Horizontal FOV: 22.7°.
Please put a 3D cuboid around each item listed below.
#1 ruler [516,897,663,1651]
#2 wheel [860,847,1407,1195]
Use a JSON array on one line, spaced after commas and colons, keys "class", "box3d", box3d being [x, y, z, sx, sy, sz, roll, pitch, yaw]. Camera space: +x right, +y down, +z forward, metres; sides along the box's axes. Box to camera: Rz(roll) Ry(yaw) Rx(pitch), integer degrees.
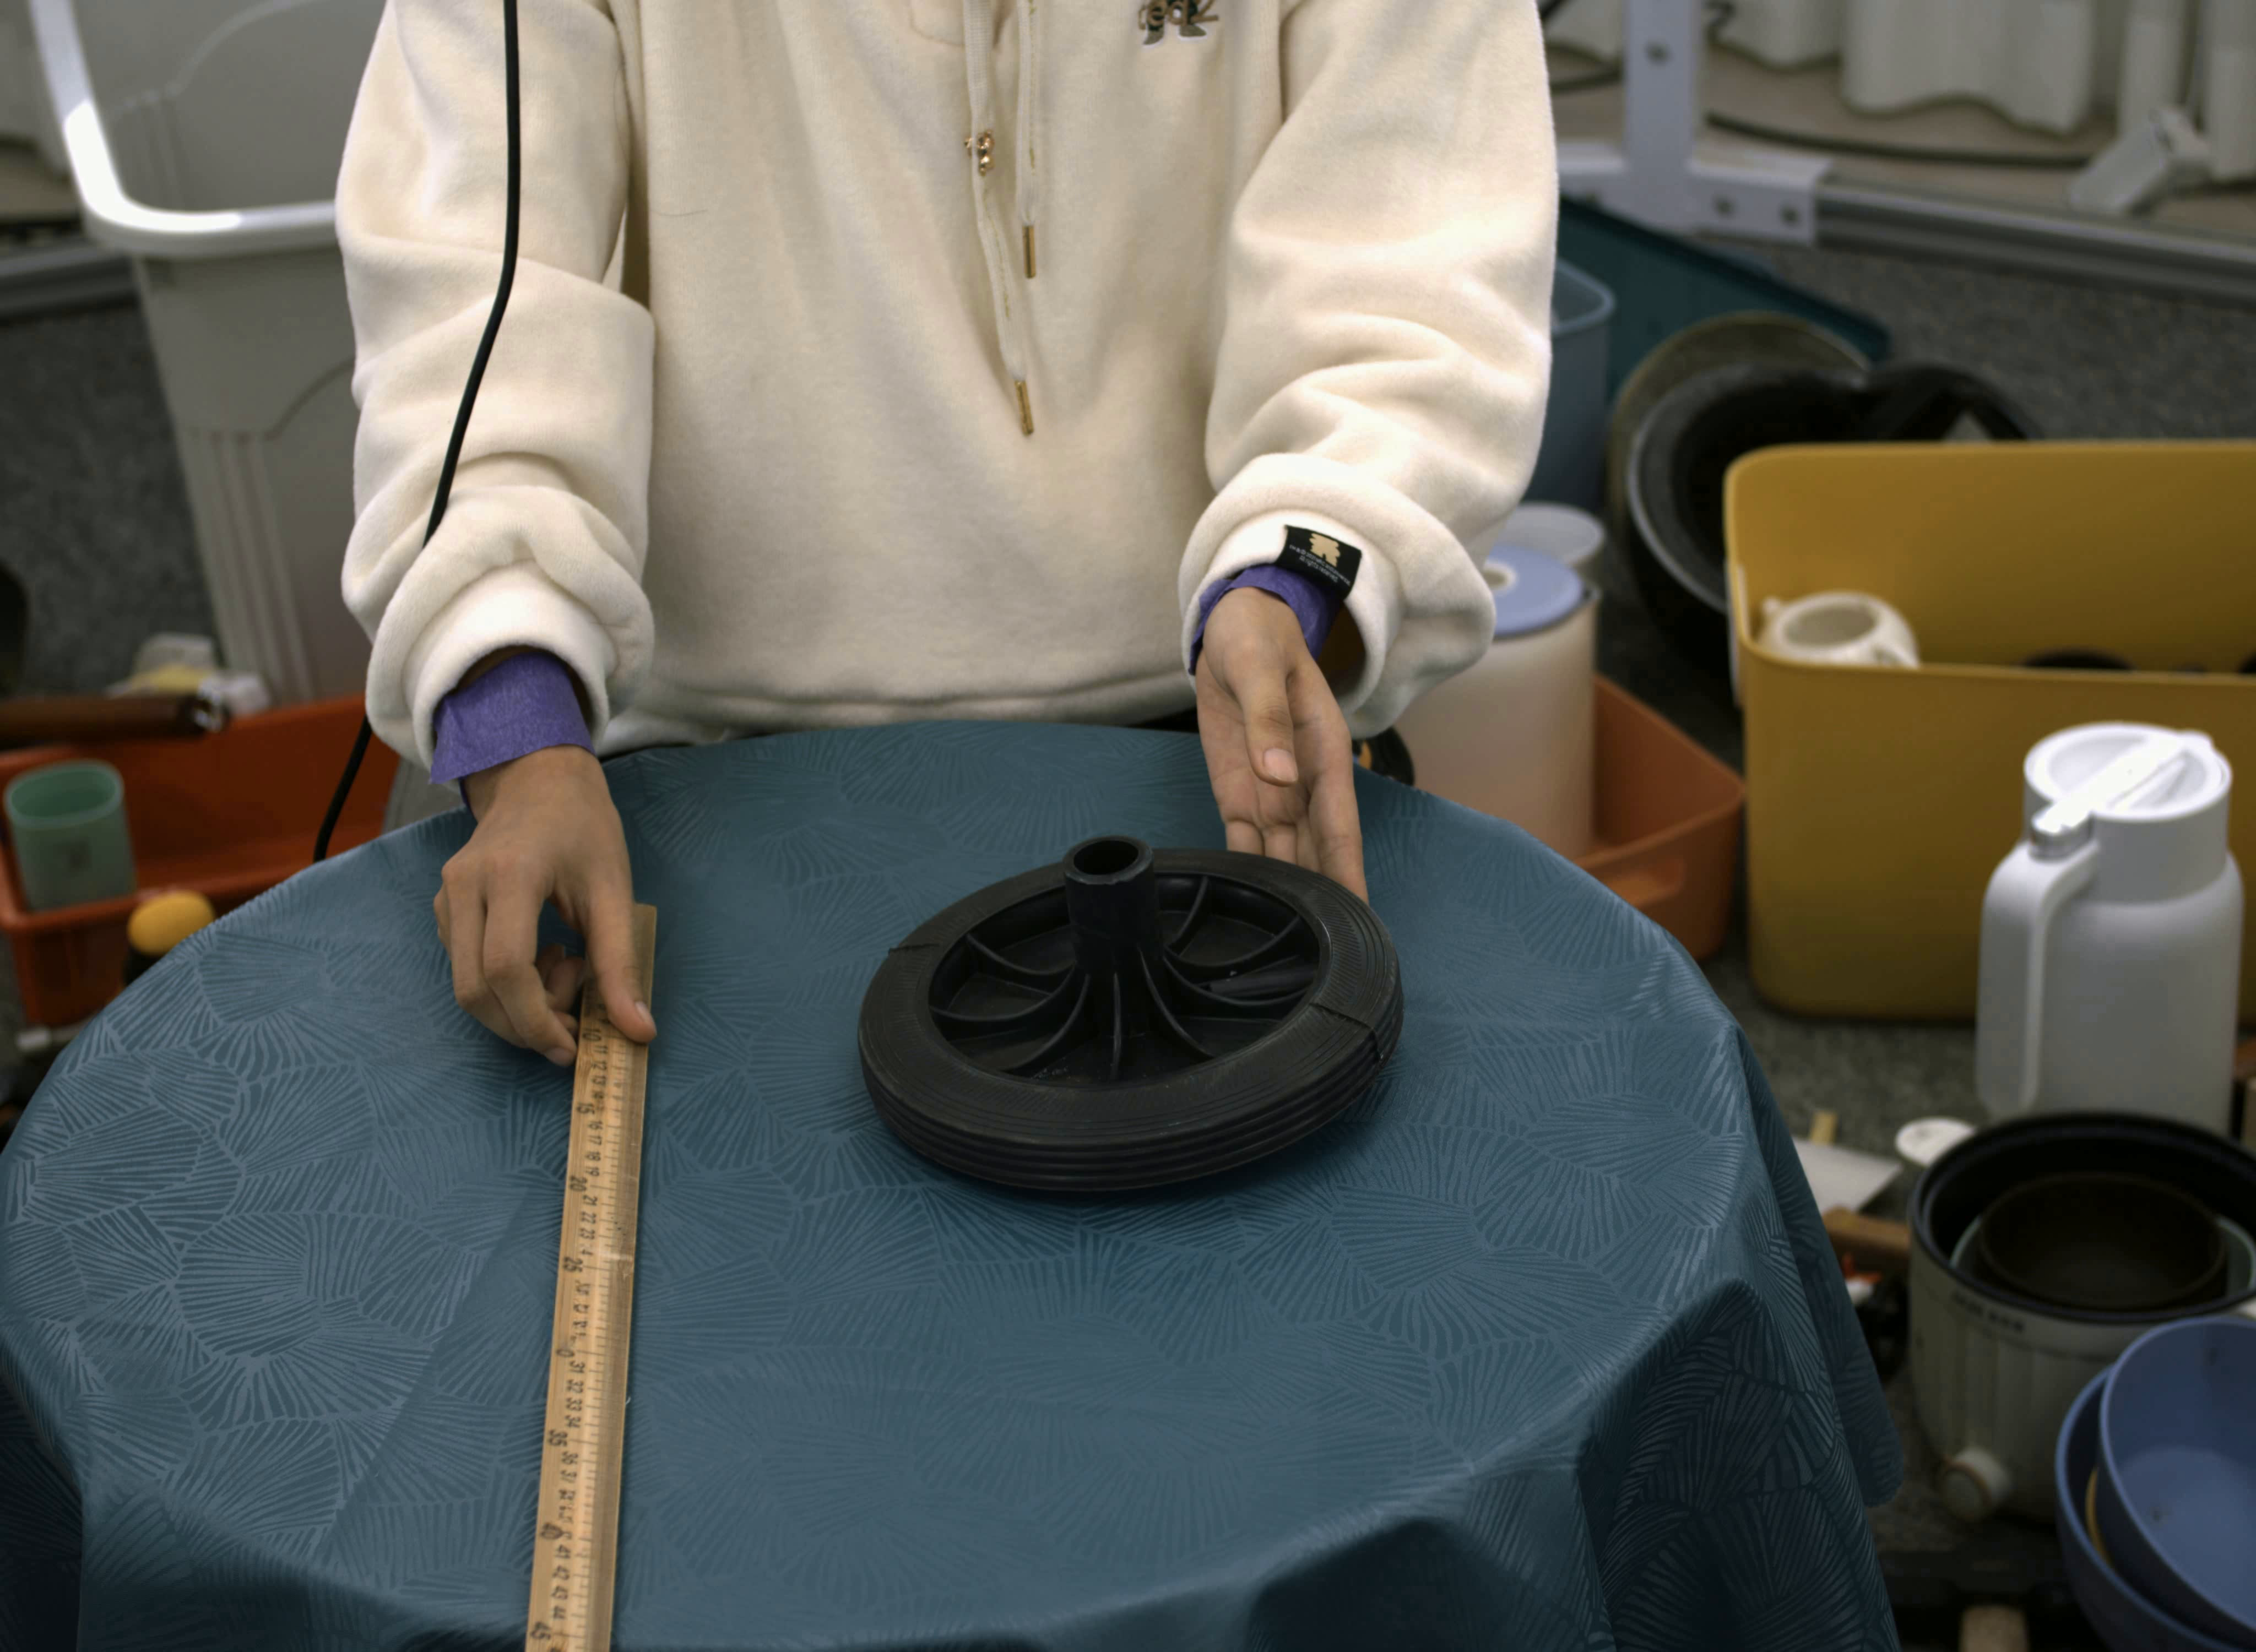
[{"class": "ruler", "box3d": [-0.173, 0.145, 1.820, 0.027, 0.006, 0.508, 13, 26, -9]}, {"class": "wheel", "box3d": [-0.001, 0.048, 1.916, 0.191, 0.078, 0.188, -20, 32, -21]}]
